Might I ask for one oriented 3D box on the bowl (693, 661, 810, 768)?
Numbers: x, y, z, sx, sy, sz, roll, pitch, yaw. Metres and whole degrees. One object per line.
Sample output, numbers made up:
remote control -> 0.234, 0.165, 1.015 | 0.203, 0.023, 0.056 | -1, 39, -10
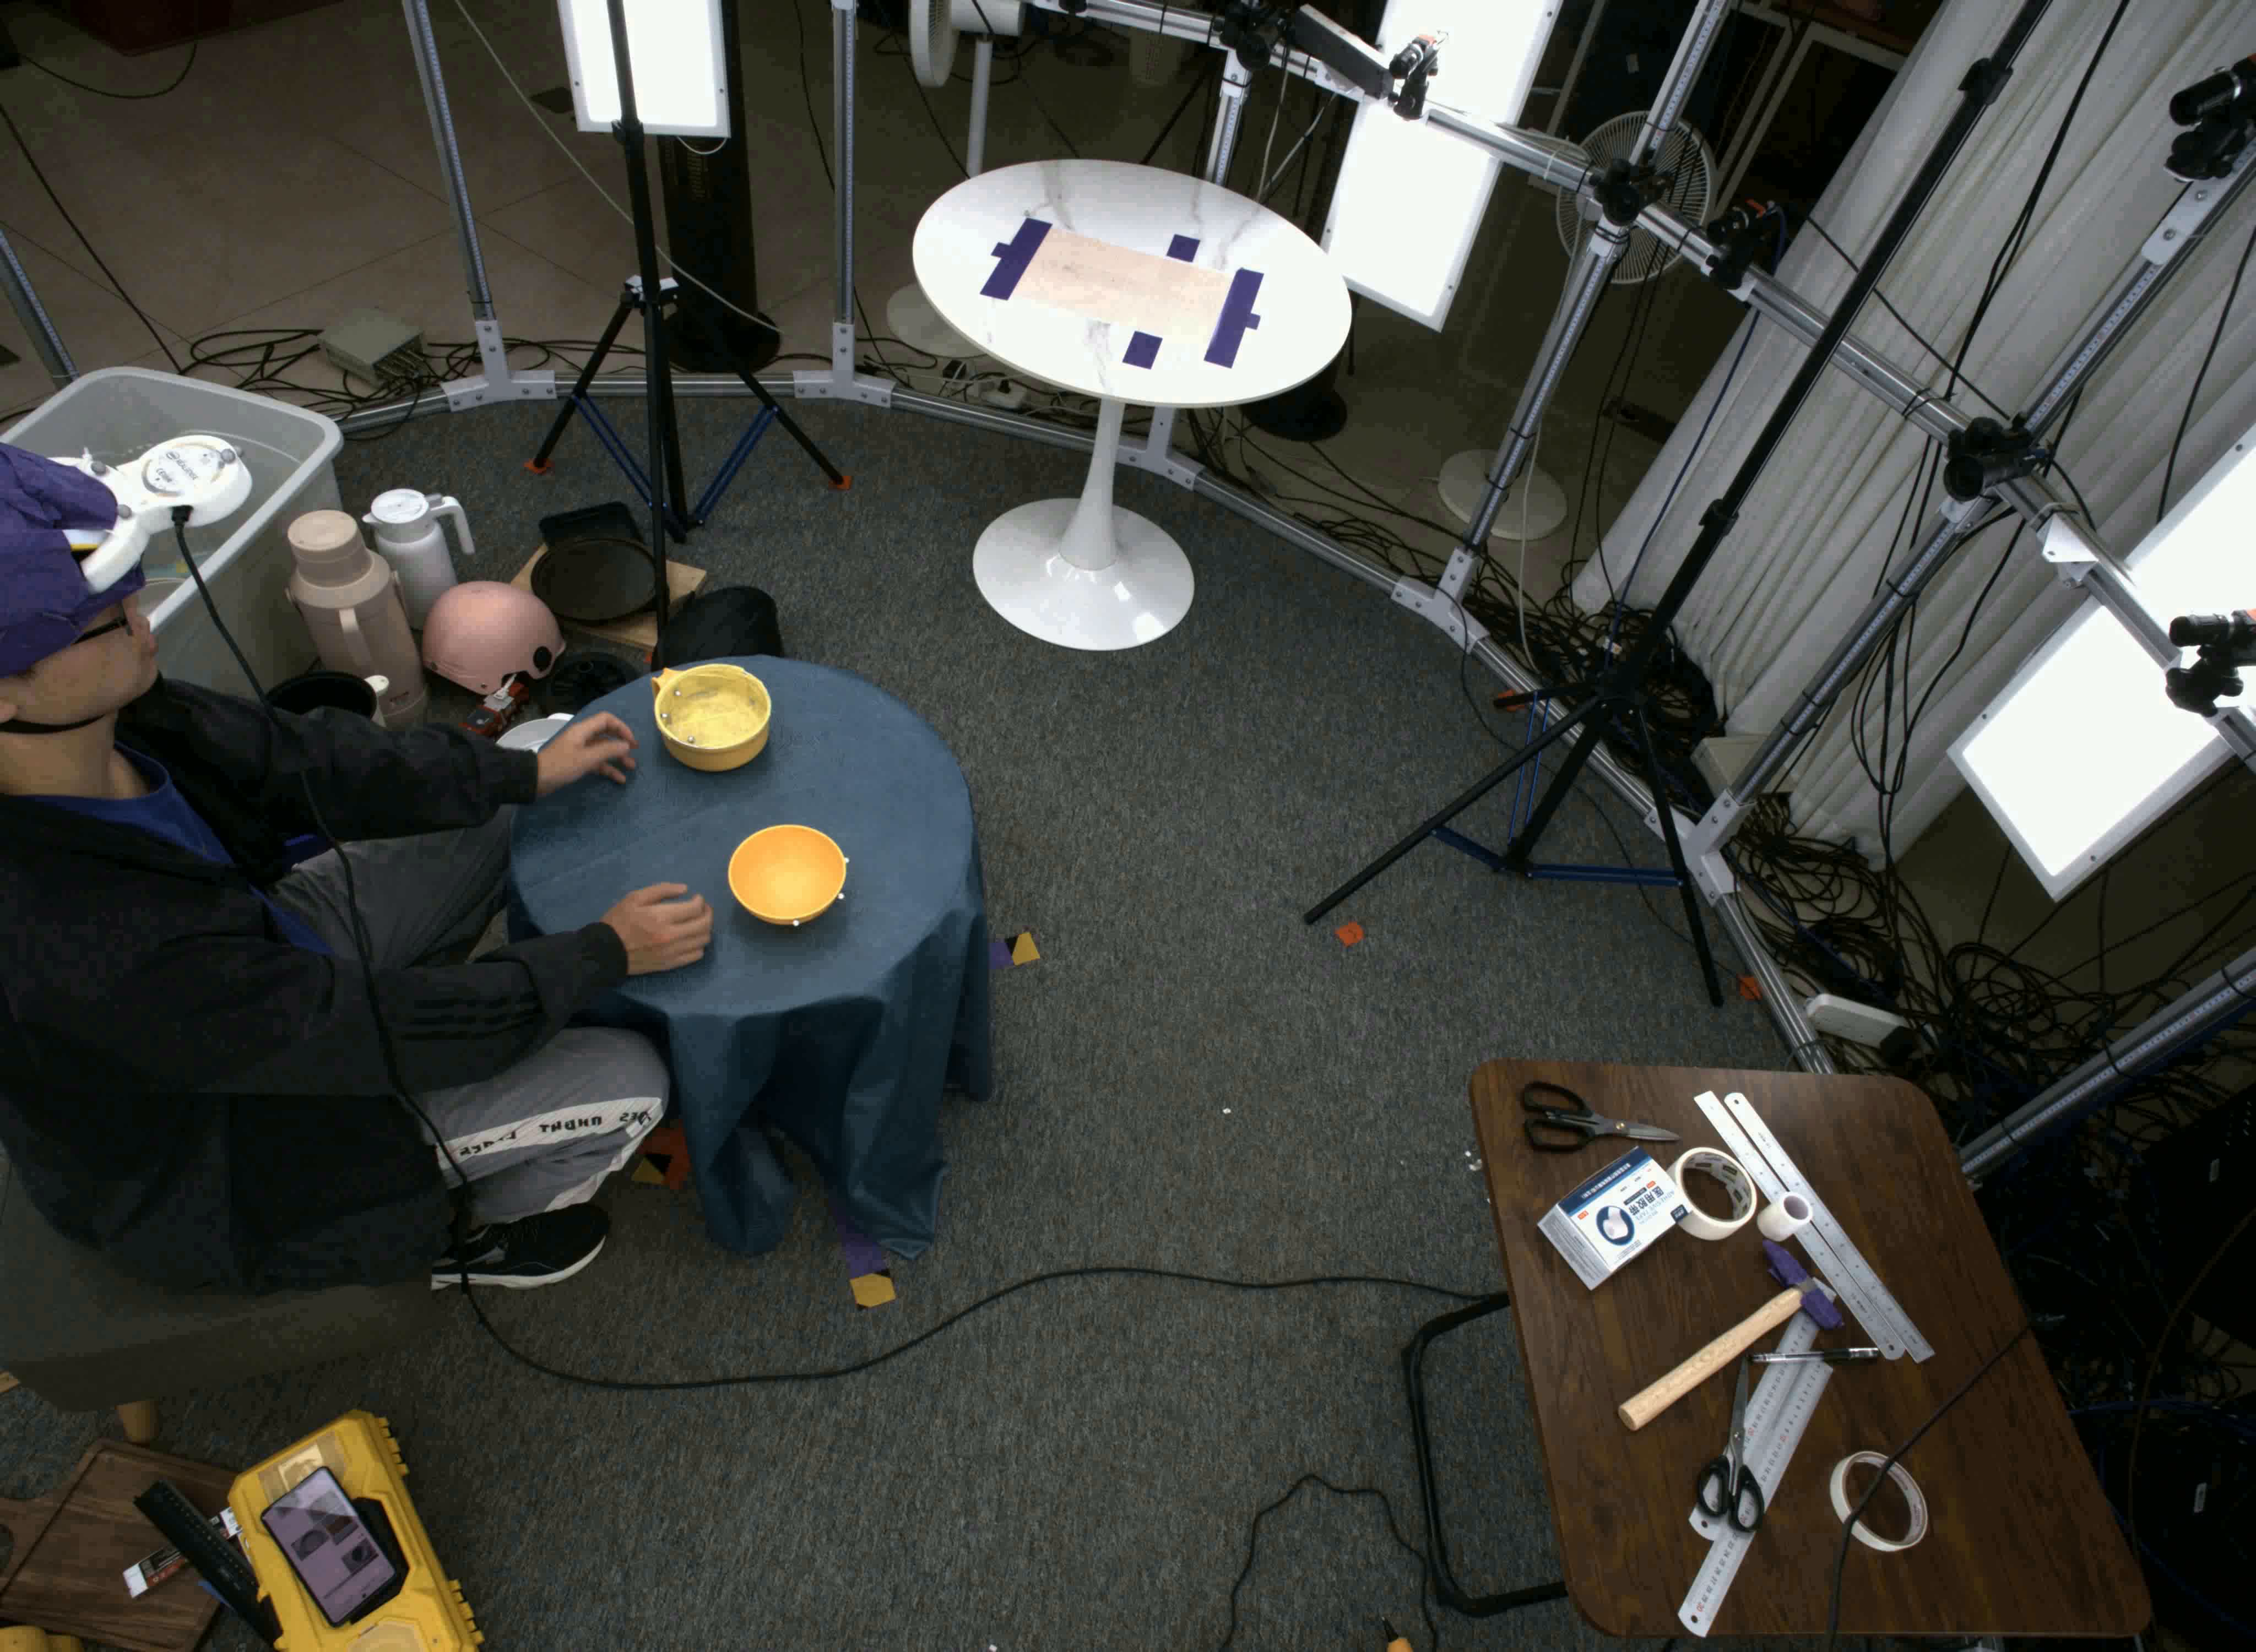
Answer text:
bowl -> -0.525, -0.158, 1.781 | 0.176, 0.076, 0.152 | 31, 56, 9

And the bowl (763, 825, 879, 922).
bowl -> -0.390, 0.070, 1.653 | 0.145, 0.061, 0.142 | 7, 50, -7
